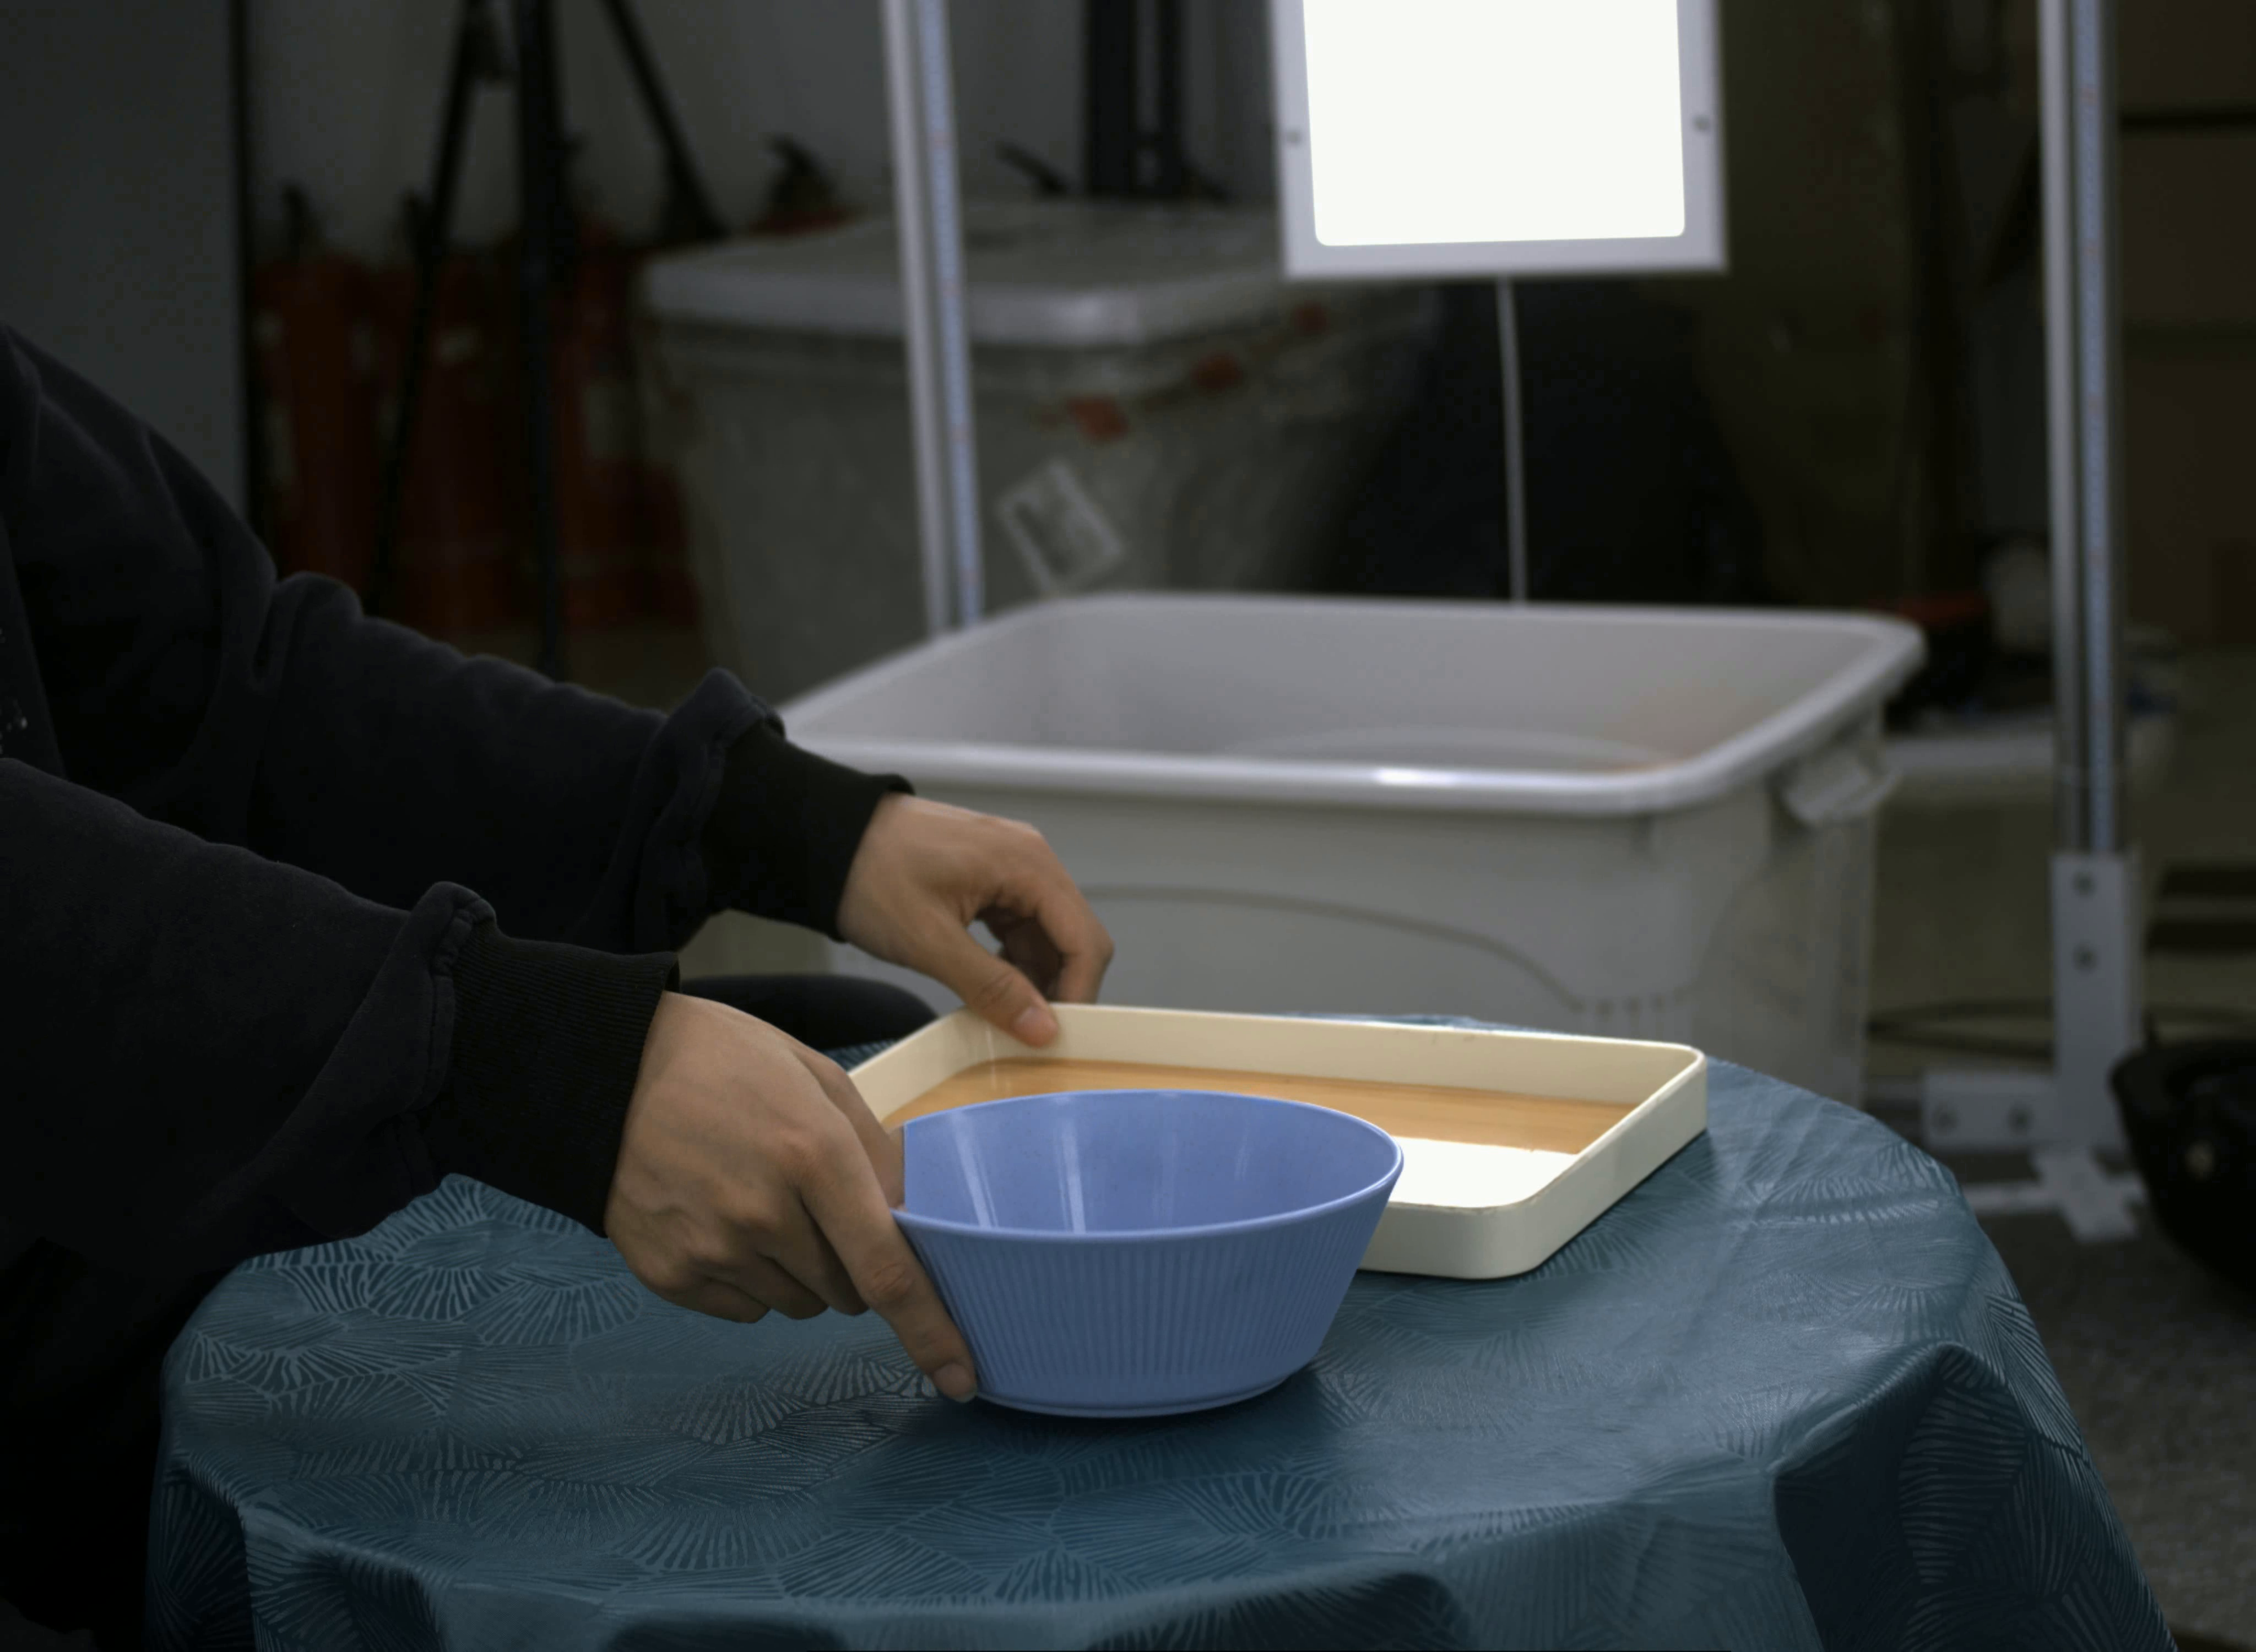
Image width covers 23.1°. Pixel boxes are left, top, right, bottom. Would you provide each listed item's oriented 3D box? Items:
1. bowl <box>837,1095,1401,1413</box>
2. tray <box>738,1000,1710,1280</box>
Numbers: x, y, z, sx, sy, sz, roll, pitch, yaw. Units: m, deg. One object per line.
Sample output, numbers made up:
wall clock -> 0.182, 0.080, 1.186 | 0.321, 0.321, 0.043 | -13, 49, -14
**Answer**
bowl -> -0.002, 0.134, 1.705 | 0.175, 0.070, 0.176 | -2, 11, -1
tray -> 0.034, 0.107, 1.912 | 0.305, 0.027, 0.187 | 3, 16, 28
